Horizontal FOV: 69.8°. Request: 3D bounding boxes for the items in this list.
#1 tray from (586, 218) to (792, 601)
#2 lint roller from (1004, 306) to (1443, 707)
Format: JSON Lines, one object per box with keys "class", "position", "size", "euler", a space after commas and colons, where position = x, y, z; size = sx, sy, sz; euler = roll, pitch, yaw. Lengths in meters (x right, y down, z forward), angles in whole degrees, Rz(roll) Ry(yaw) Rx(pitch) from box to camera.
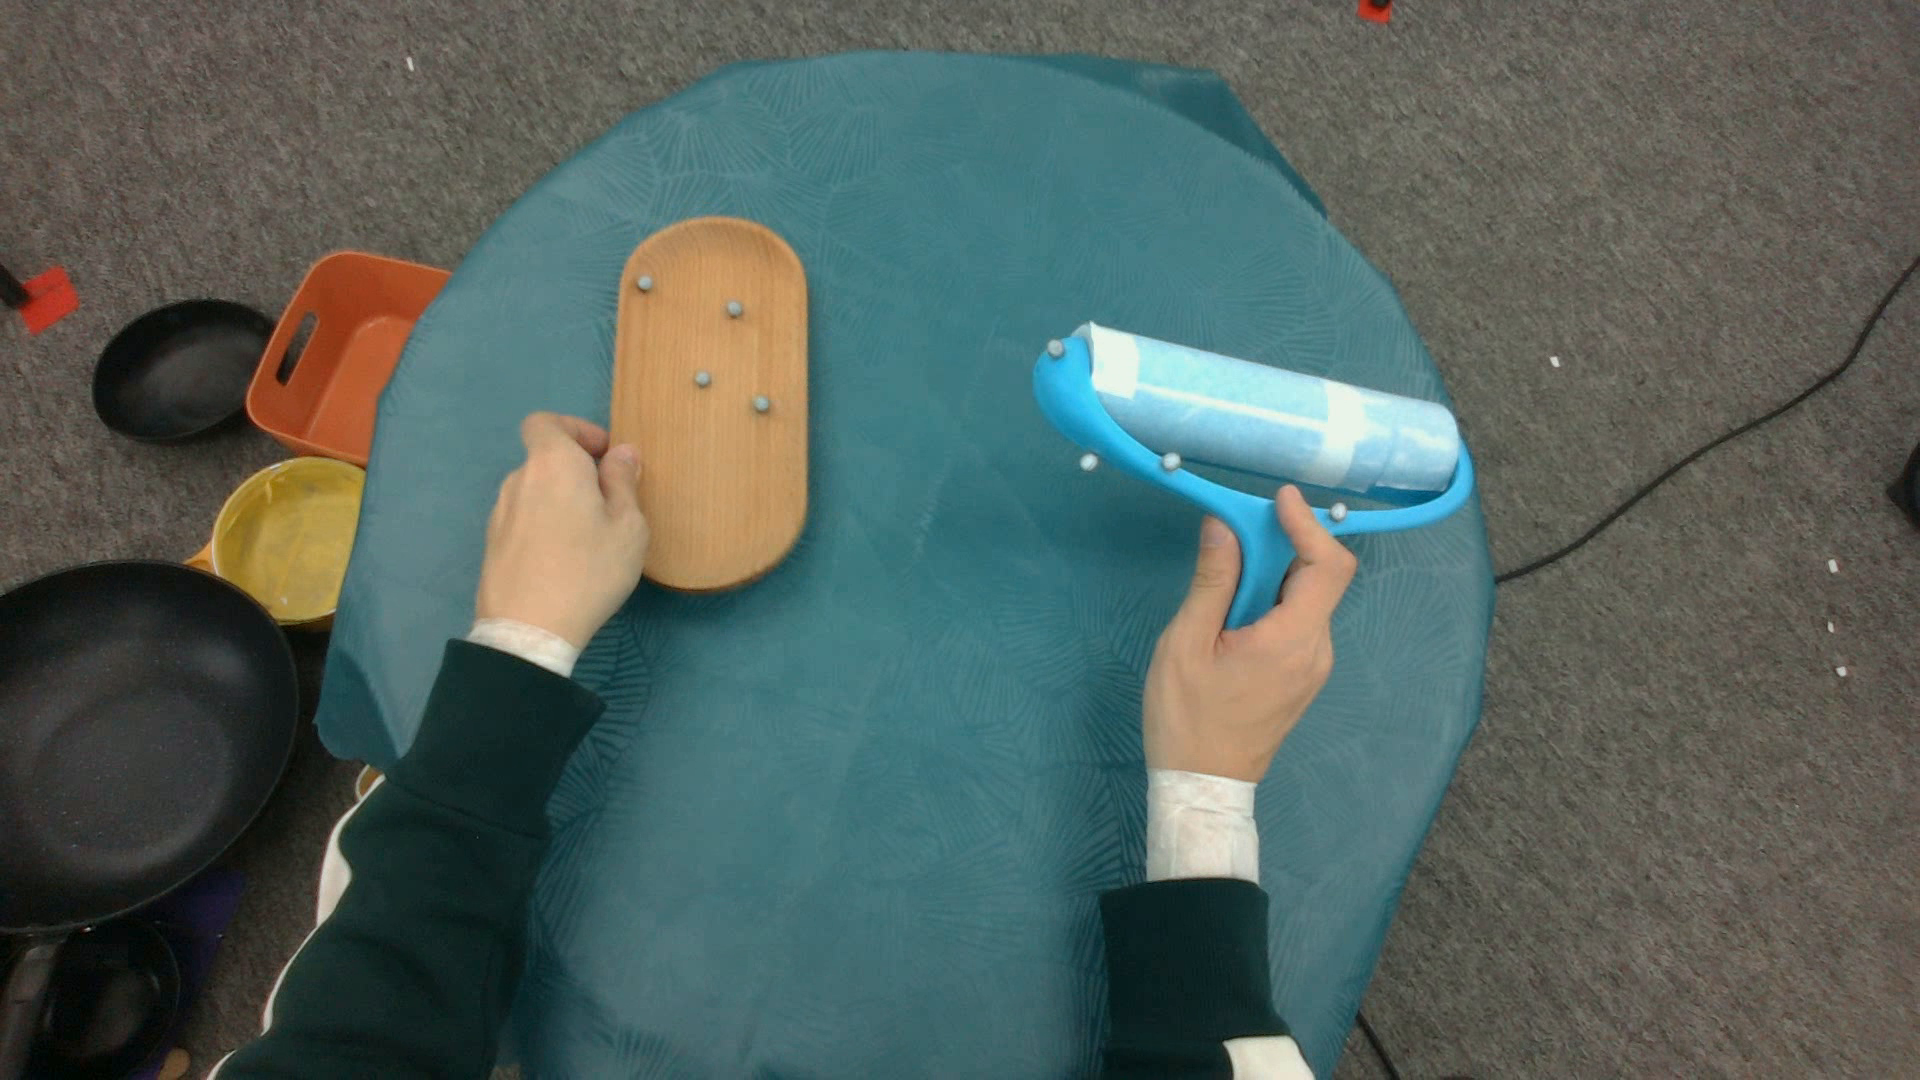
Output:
{"class": "tray", "position": [-0.142, -0.074, 0.718], "size": [0.102, 0.020, 0.232], "euler": [-6, 64, -2]}
{"class": "lint roller", "position": [0.127, -0.011, 0.658], "size": [0.229, 0.068, 0.180], "euler": [6, 80, -19]}
